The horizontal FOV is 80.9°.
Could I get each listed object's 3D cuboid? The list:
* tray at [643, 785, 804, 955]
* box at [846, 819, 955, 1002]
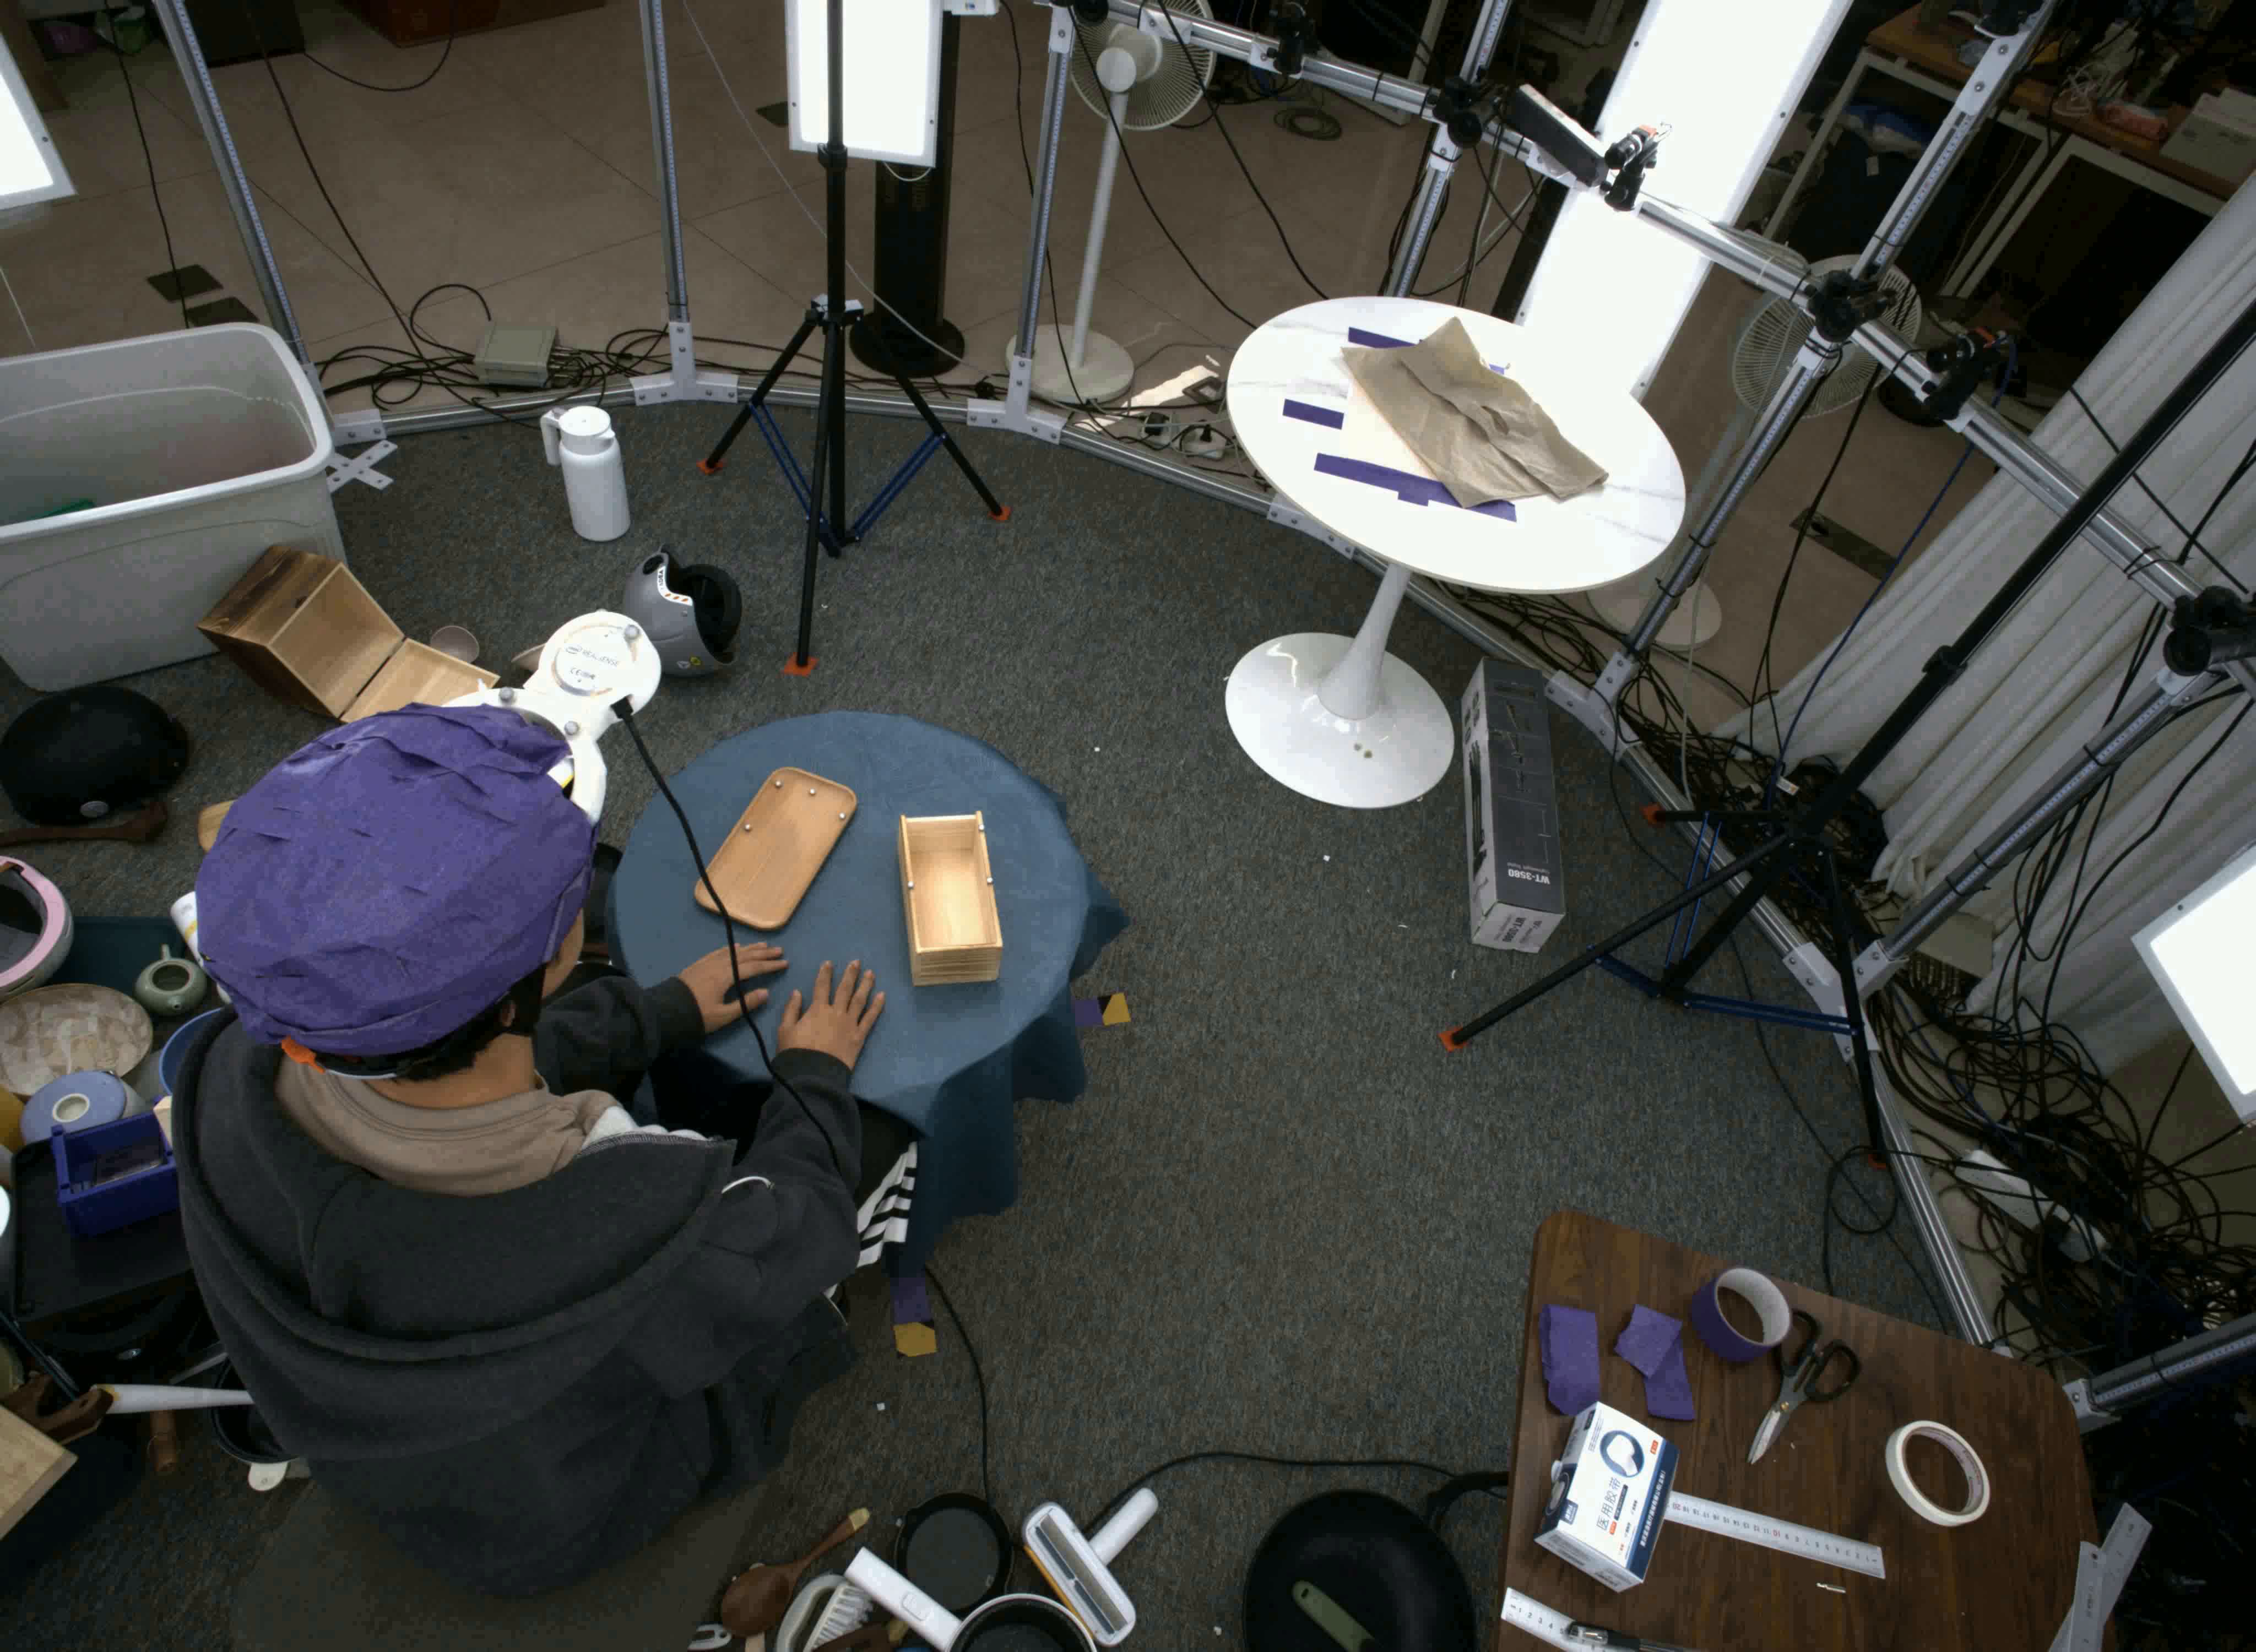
[{"bbox_3d":[-0.515,0.052,1.656,0.129,0.023,0.248,17,52,2],"label":"tray"},{"bbox_3d":[-0.288,0.102,1.636,0.108,0.082,0.206,-6,56,-18],"label":"box"}]
